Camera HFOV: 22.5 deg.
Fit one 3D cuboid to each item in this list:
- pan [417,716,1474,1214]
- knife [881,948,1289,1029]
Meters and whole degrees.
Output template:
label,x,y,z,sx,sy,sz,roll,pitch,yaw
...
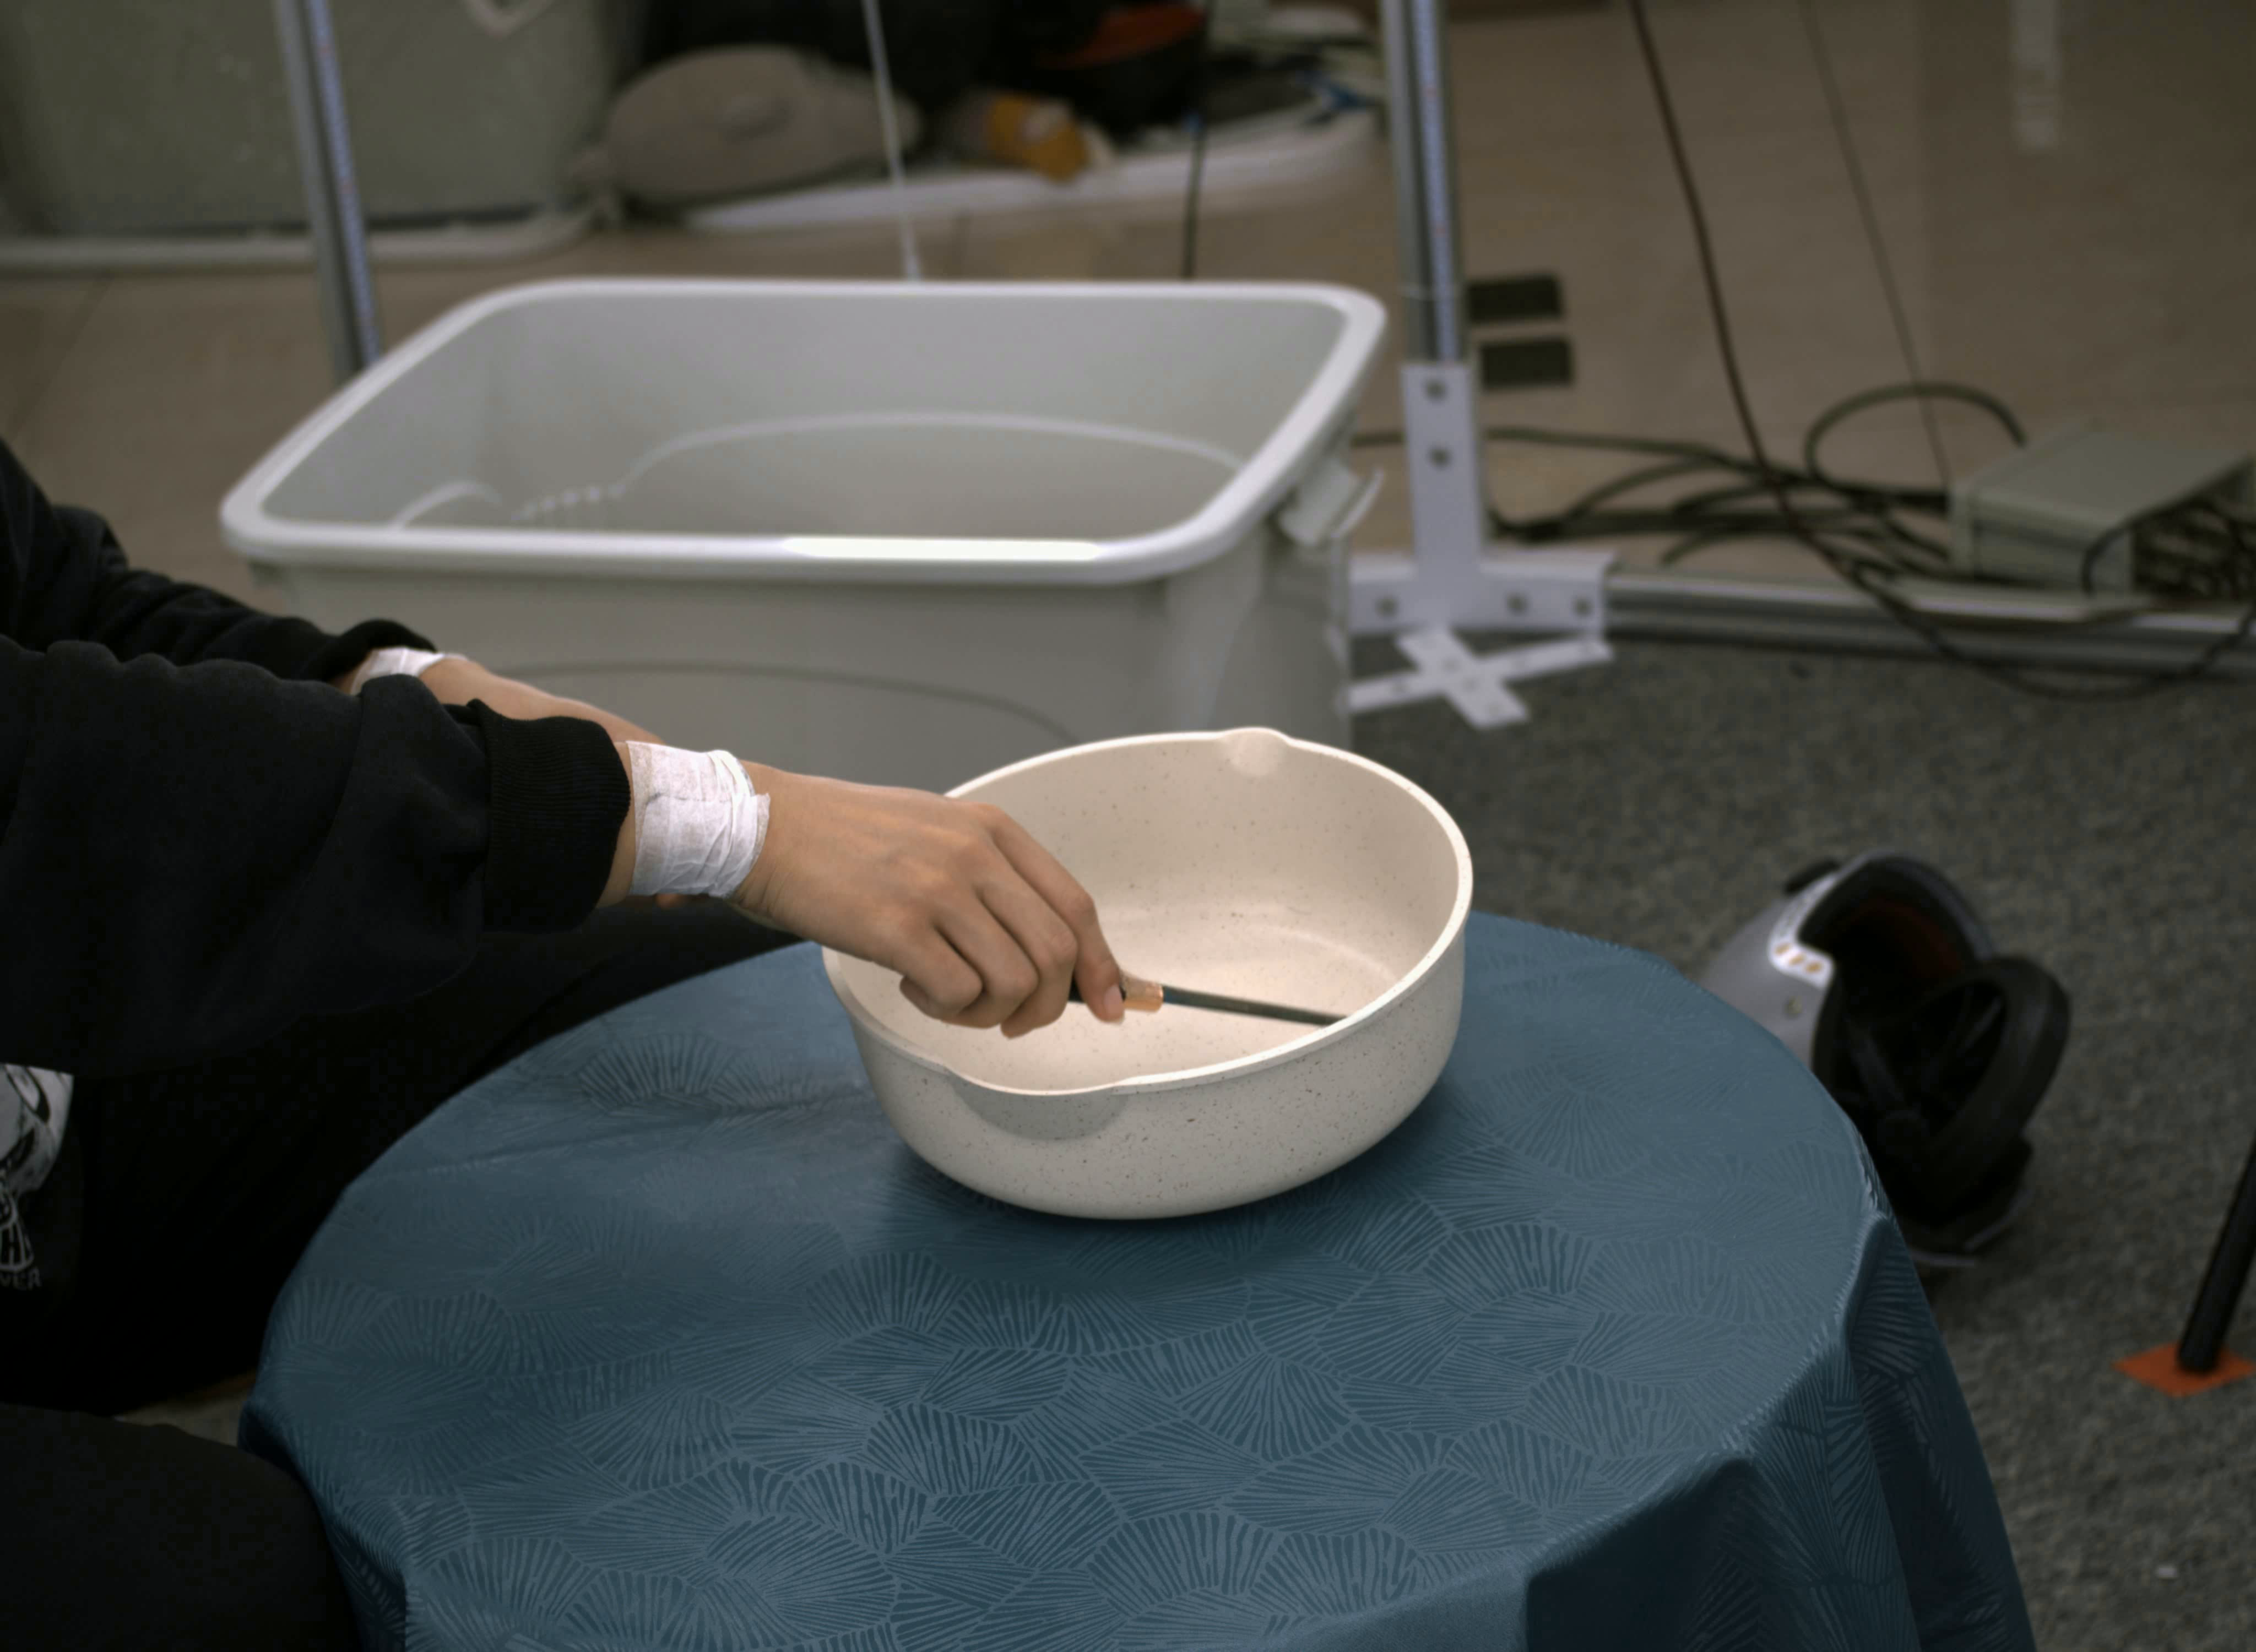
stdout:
label,x,y,z,sx,sy,sz,roll,pitch,yaw
pan,-0.074,0.046,2.221,0.433,0.104,0.259,5,35,21
knife,0.010,0.066,2.141,0.226,0.017,0.026,9,6,-24
